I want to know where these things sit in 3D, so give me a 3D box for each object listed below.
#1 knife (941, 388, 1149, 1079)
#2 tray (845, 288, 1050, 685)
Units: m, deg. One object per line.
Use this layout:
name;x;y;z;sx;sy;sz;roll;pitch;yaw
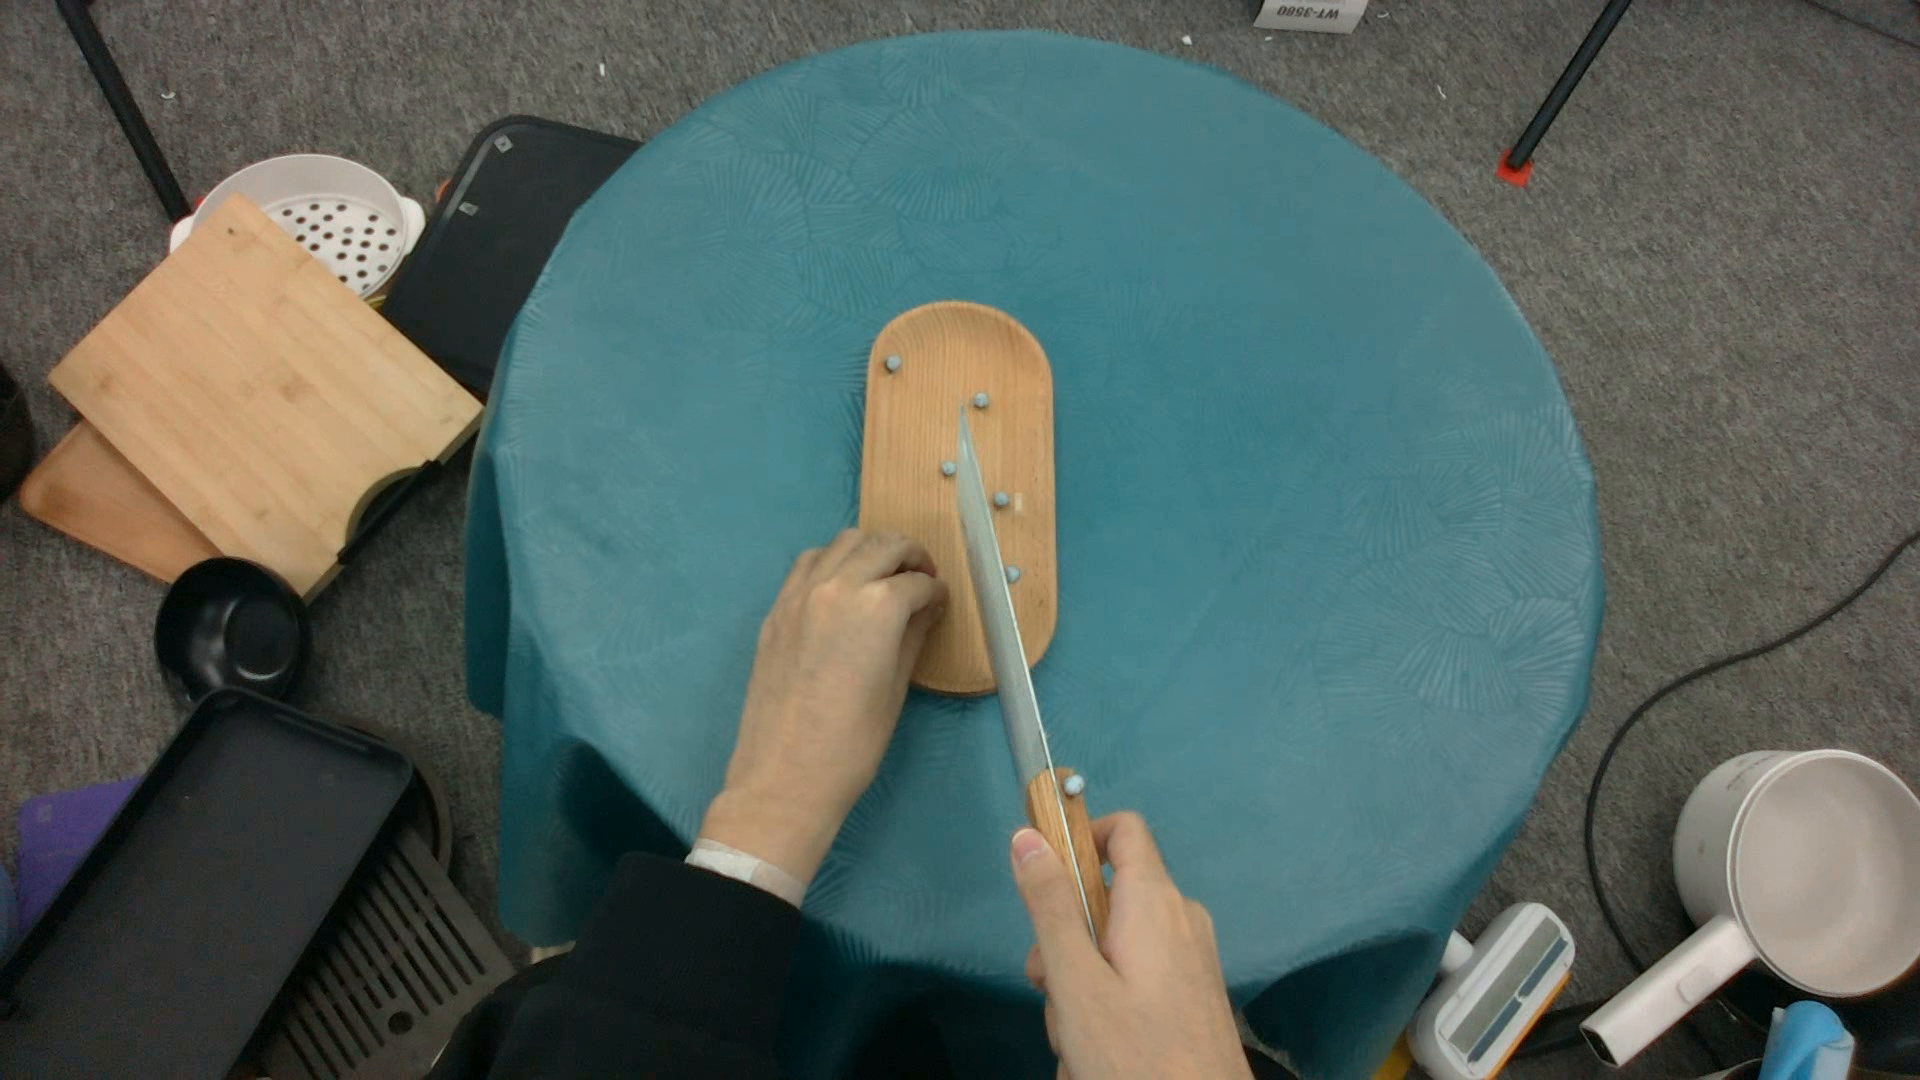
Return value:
knife;0.025;0.077;0.584;0.021;0.092;0.307;-9;59;-9
tray;-0.005;-0.034;0.708;0.102;0.020;0.232;4;63;-5
